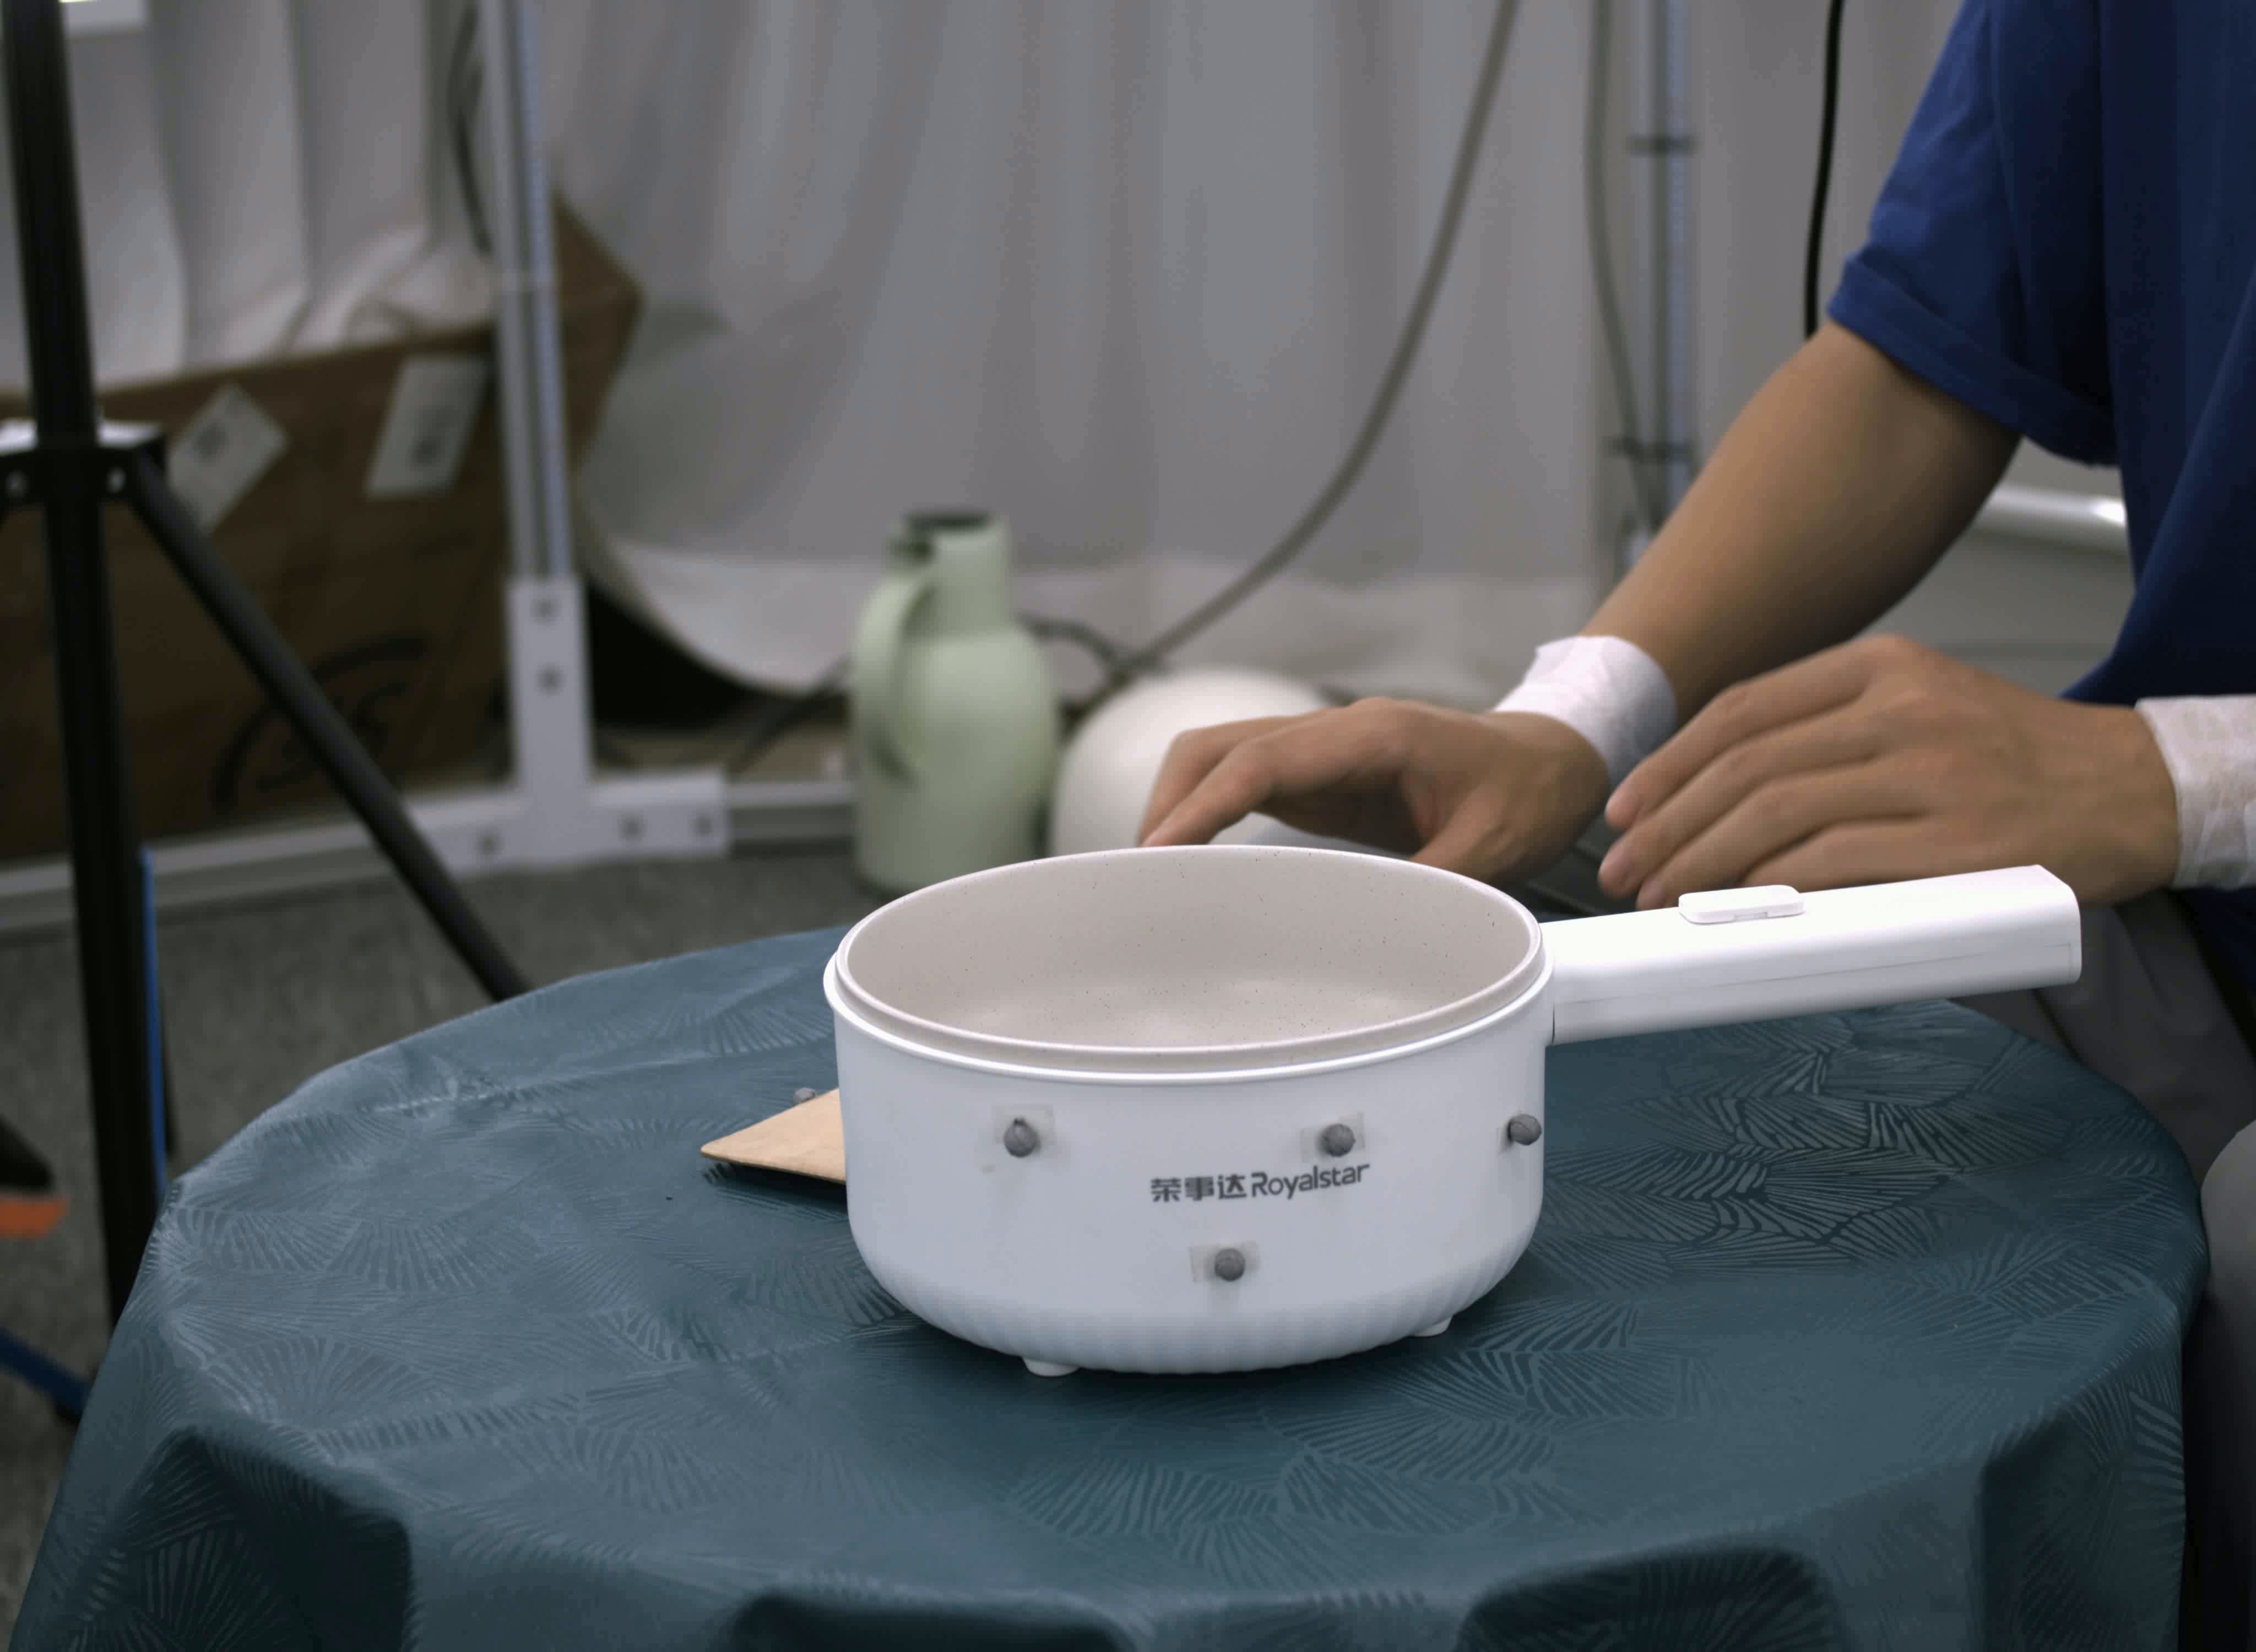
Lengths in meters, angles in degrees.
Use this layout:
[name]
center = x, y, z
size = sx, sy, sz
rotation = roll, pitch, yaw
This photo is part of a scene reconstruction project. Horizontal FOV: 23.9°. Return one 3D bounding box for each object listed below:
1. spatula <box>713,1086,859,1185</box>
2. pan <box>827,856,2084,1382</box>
[spatula]
center = -0.019, 0.068, 1.685
size = 0.074, 0.010, 0.287
rotation = 7, 18, 34
[pan]
center = 0.094, 0.075, 1.481
size = 0.350, 0.102, 0.203
rotation = -5, 14, -9
